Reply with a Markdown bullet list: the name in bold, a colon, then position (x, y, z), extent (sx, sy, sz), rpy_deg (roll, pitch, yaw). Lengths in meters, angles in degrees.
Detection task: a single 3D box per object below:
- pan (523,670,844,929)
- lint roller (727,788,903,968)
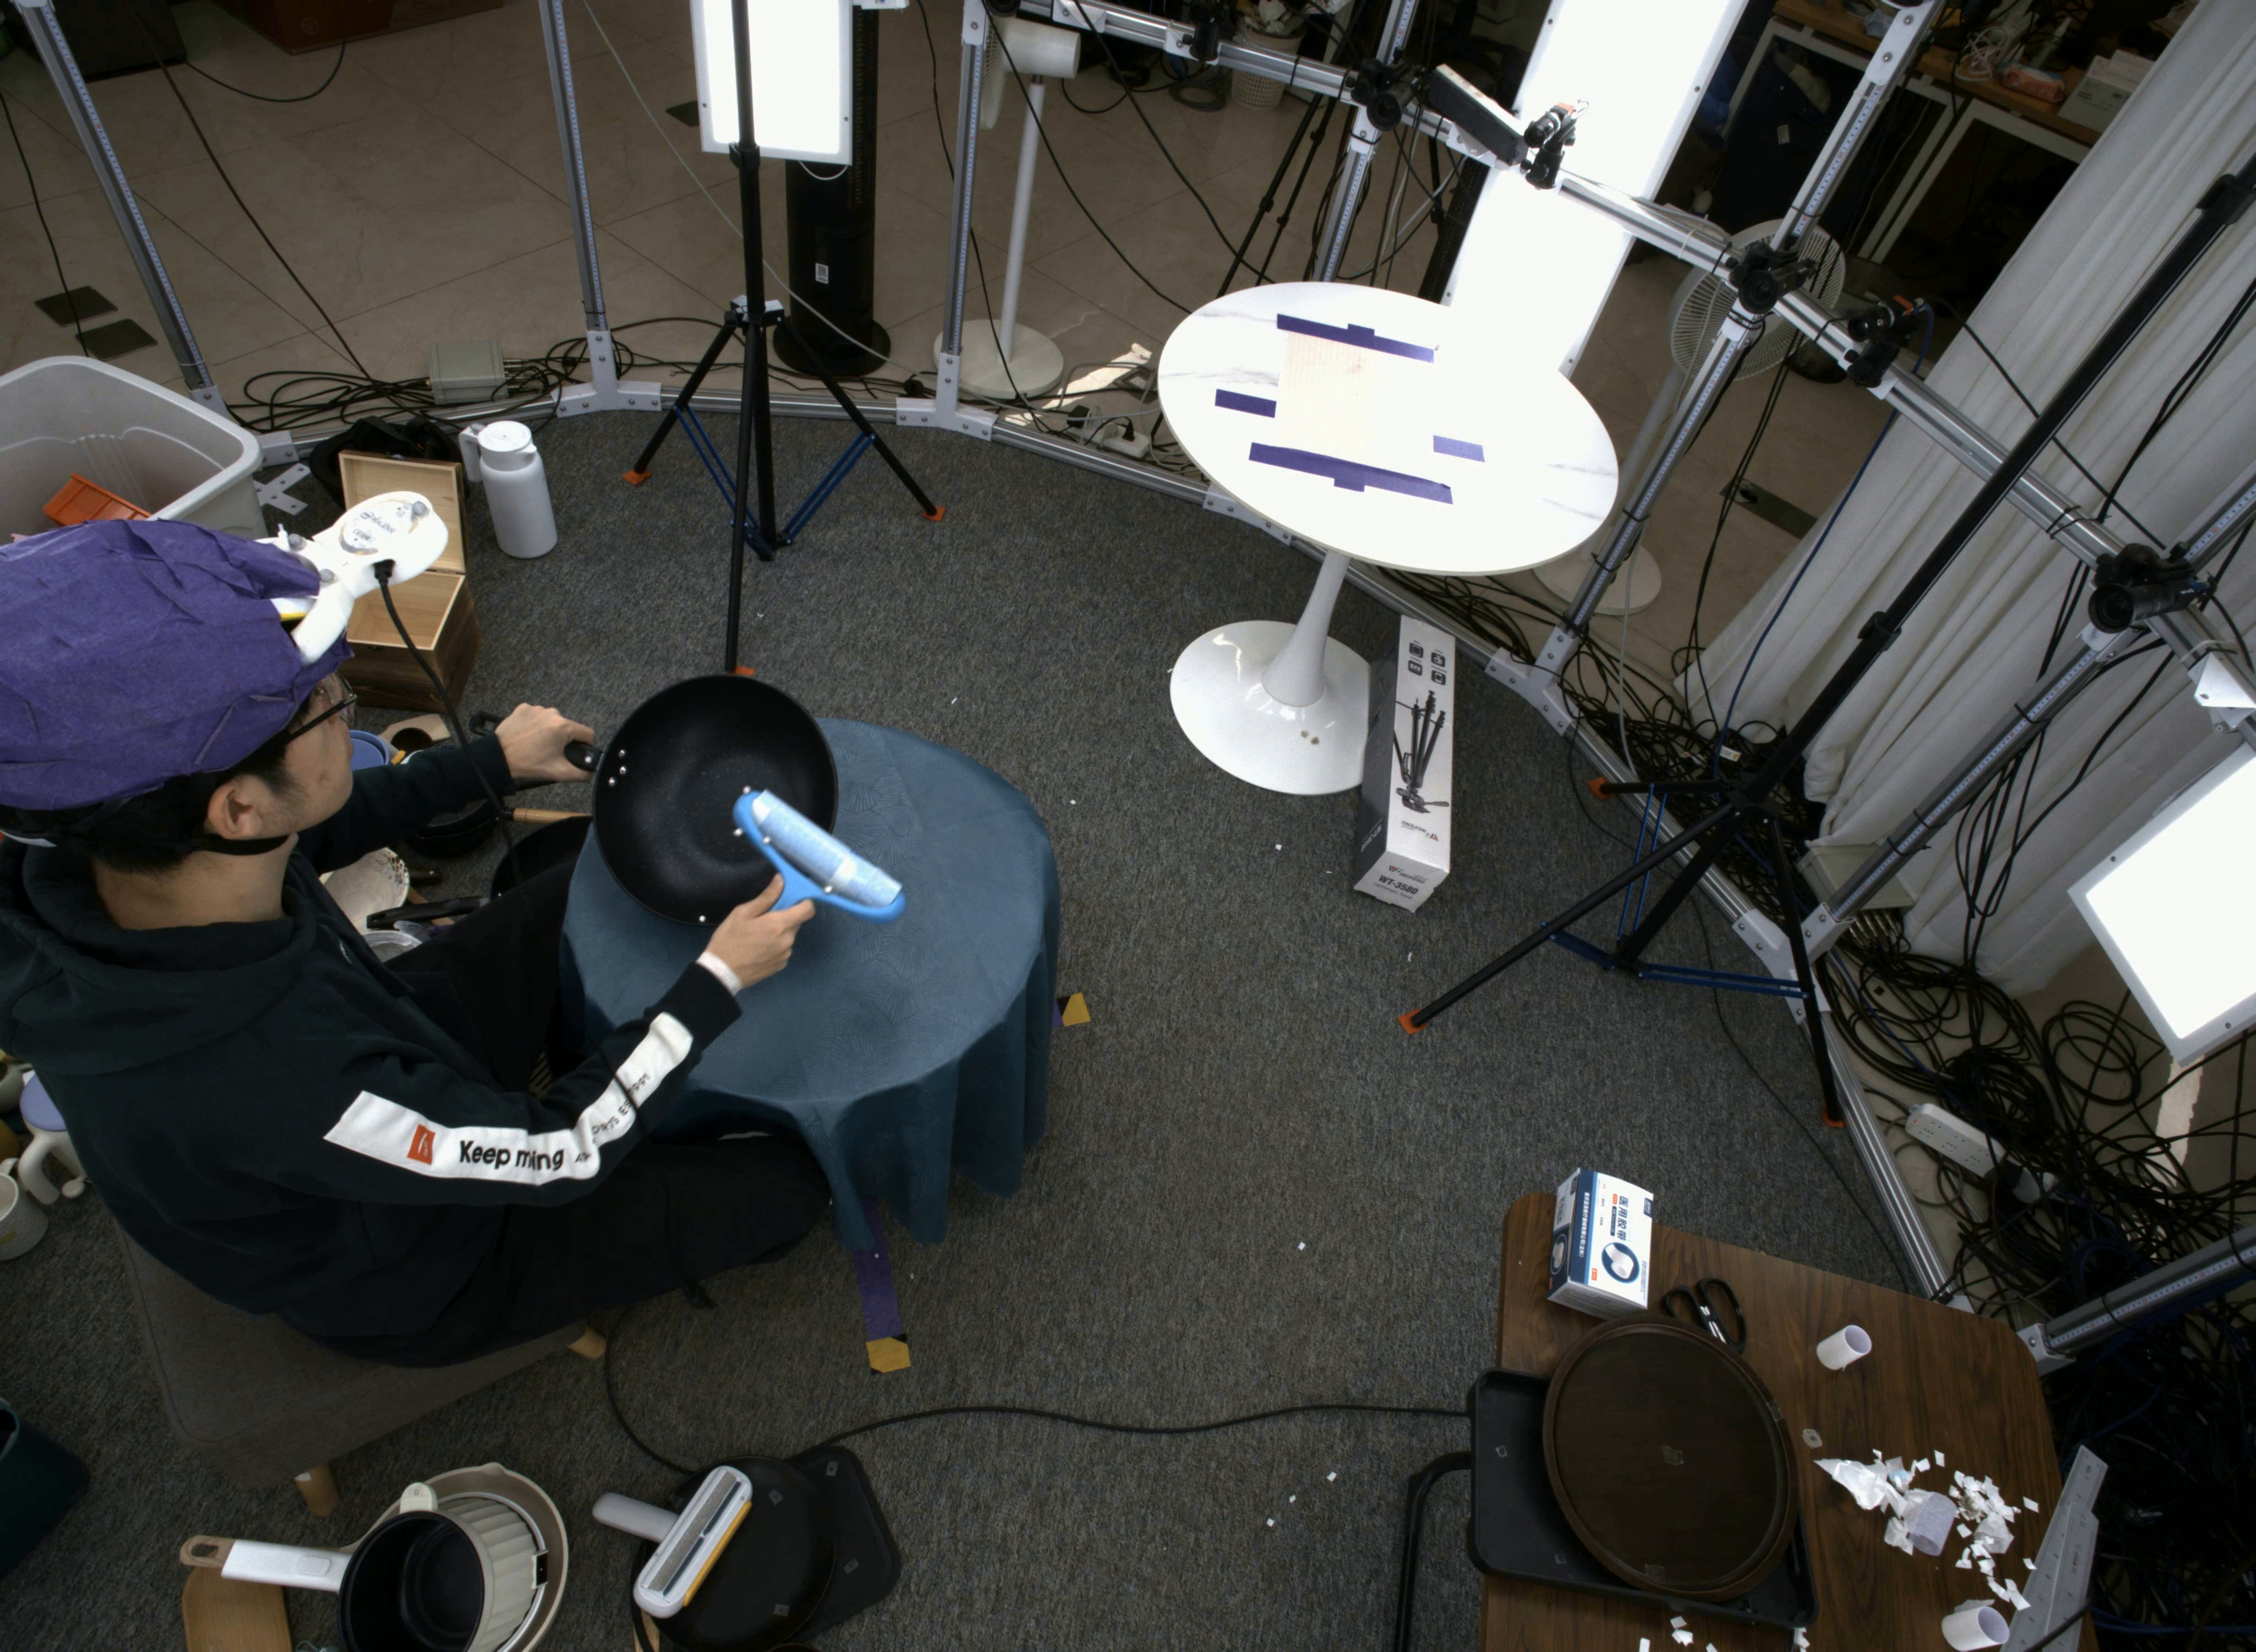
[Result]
- **pan**: position (-0.567, -0.054, 1.580), extent (0.470, 0.112, 0.312), rpy_deg (17, 83, 4)
- **lint roller**: position (-0.382, 0.078, 1.475), extent (0.233, 0.067, 0.179), rpy_deg (35, 59, -16)
